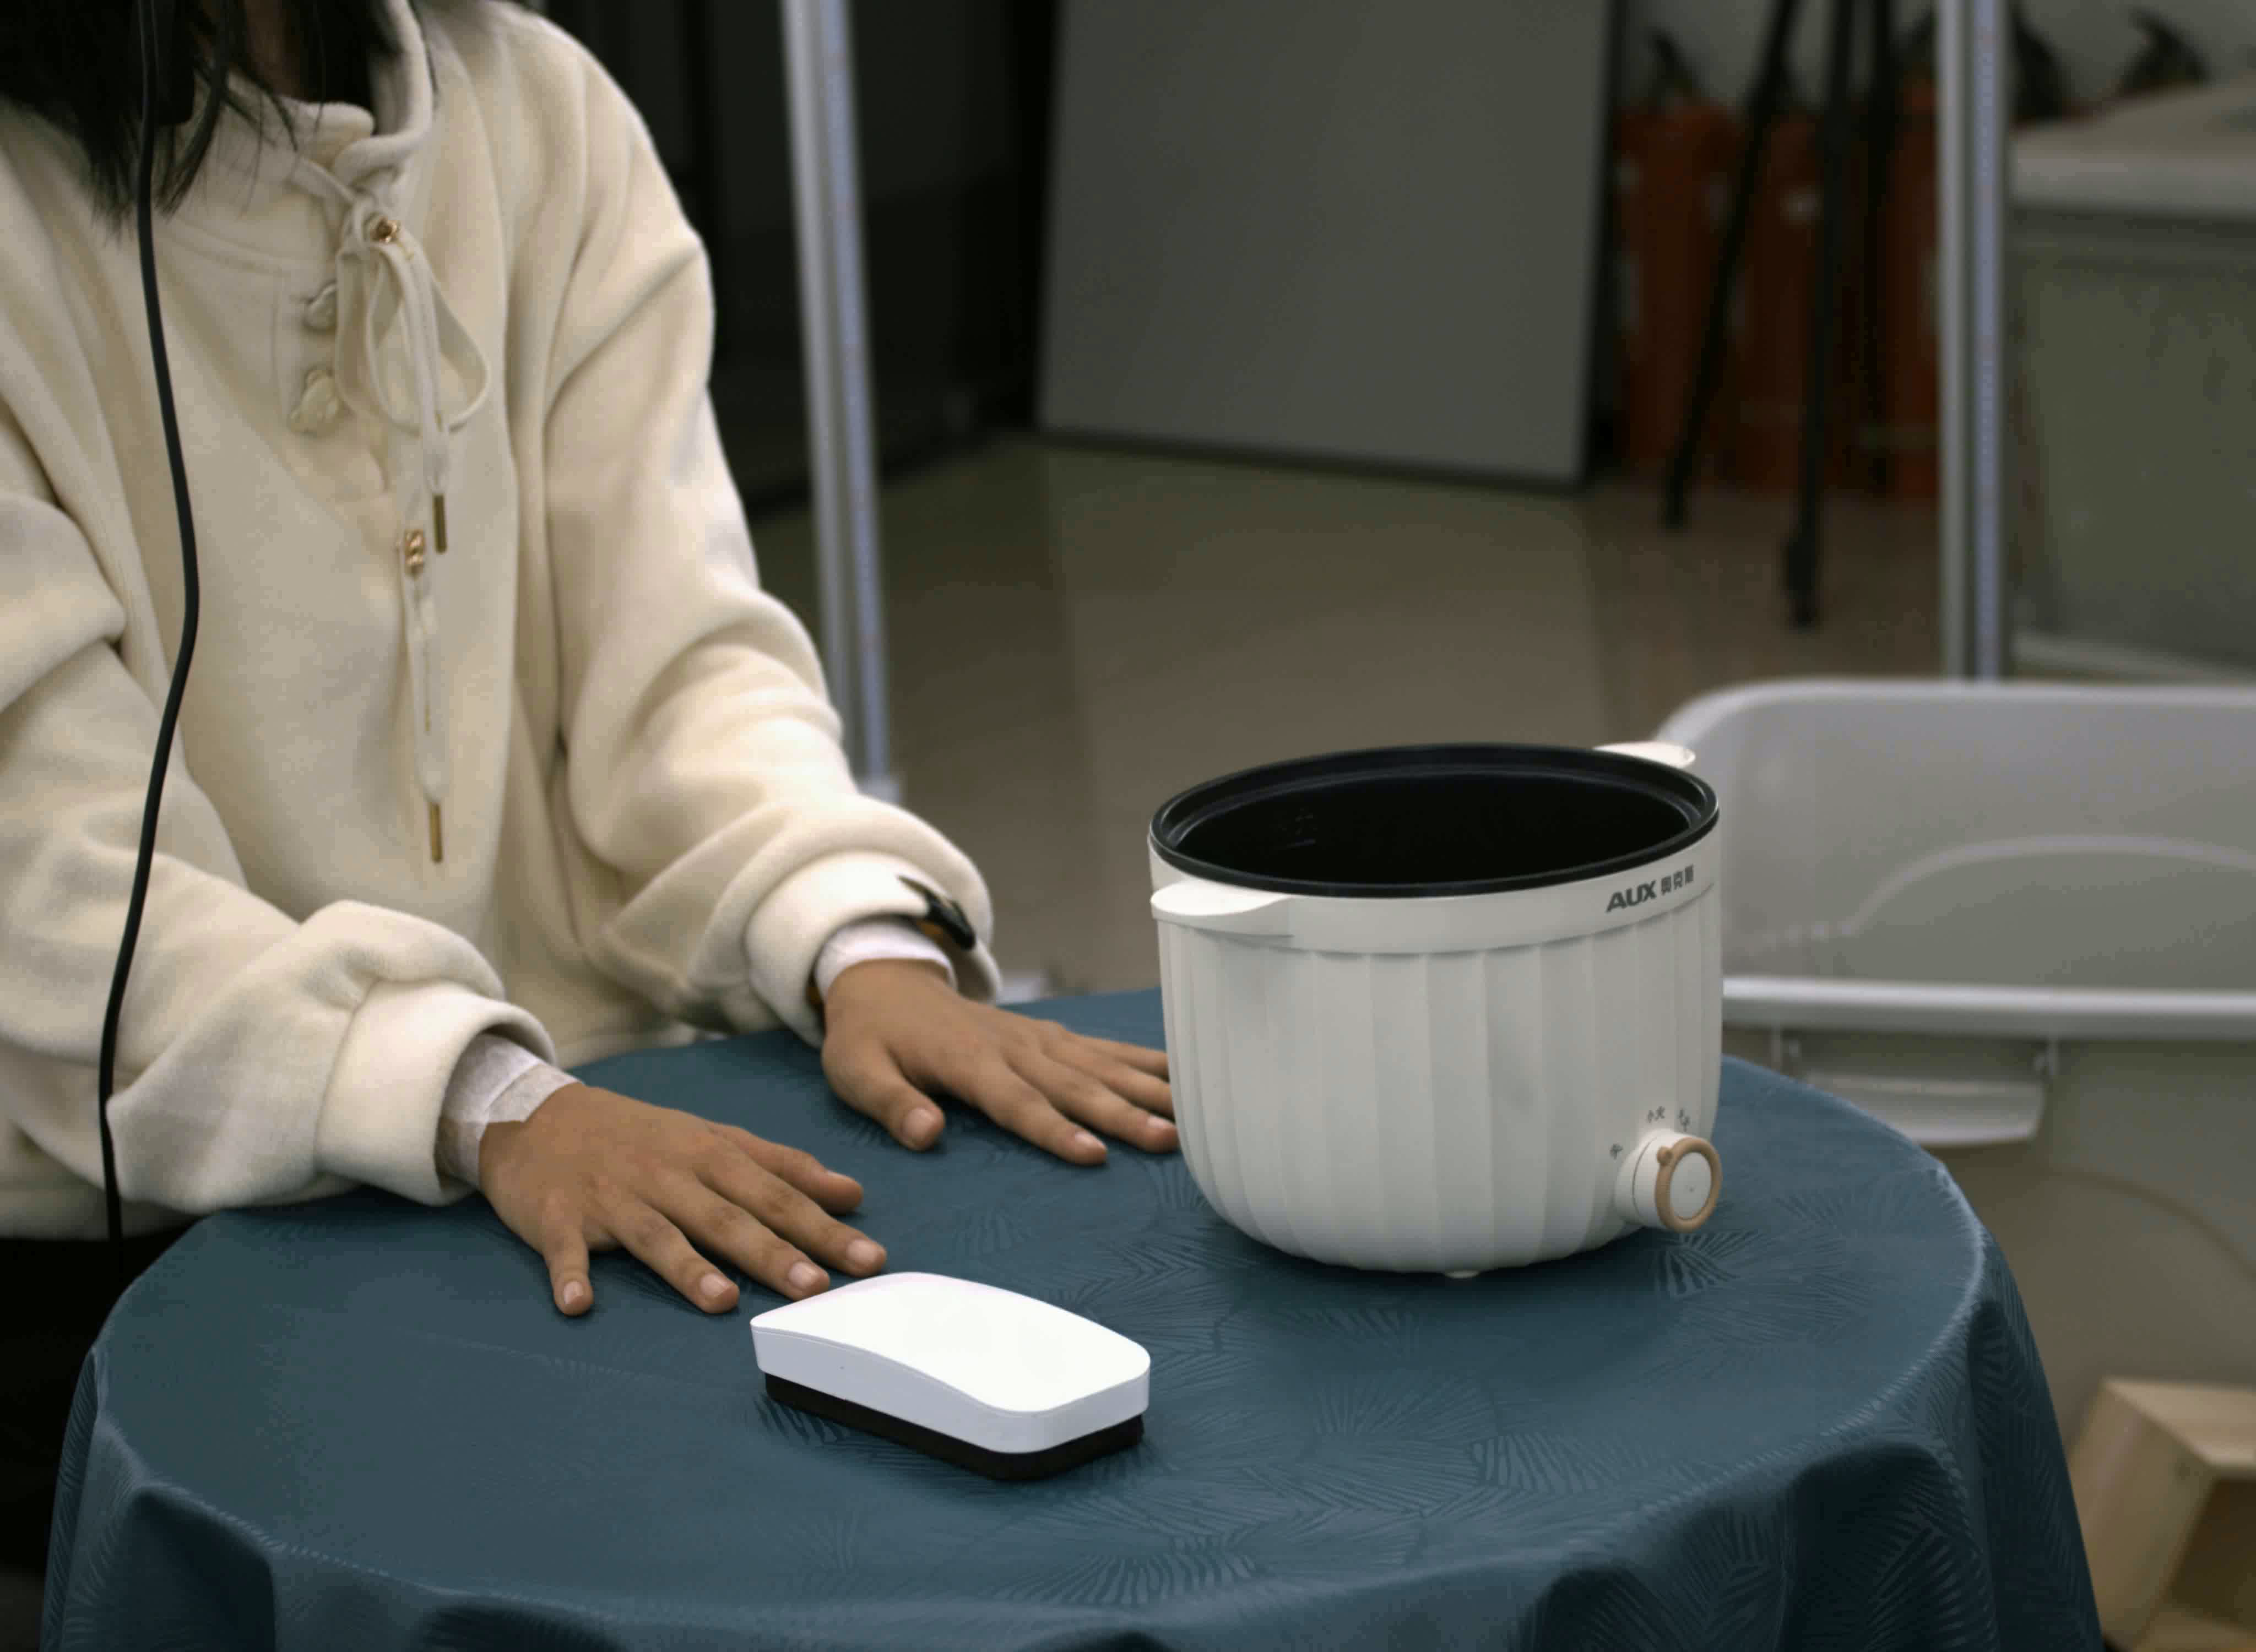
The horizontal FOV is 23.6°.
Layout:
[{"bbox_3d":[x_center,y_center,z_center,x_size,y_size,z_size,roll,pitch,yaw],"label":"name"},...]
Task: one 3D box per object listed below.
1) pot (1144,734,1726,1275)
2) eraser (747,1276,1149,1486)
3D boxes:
[{"bbox_3d":[0.104,0.058,1.702,0.192,0.144,0.235,5,17,45],"label":"pot"},{"bbox_3d":[-0.052,0.158,1.571,0.062,0.035,0.132,-12,16,-39],"label":"eraser"}]
